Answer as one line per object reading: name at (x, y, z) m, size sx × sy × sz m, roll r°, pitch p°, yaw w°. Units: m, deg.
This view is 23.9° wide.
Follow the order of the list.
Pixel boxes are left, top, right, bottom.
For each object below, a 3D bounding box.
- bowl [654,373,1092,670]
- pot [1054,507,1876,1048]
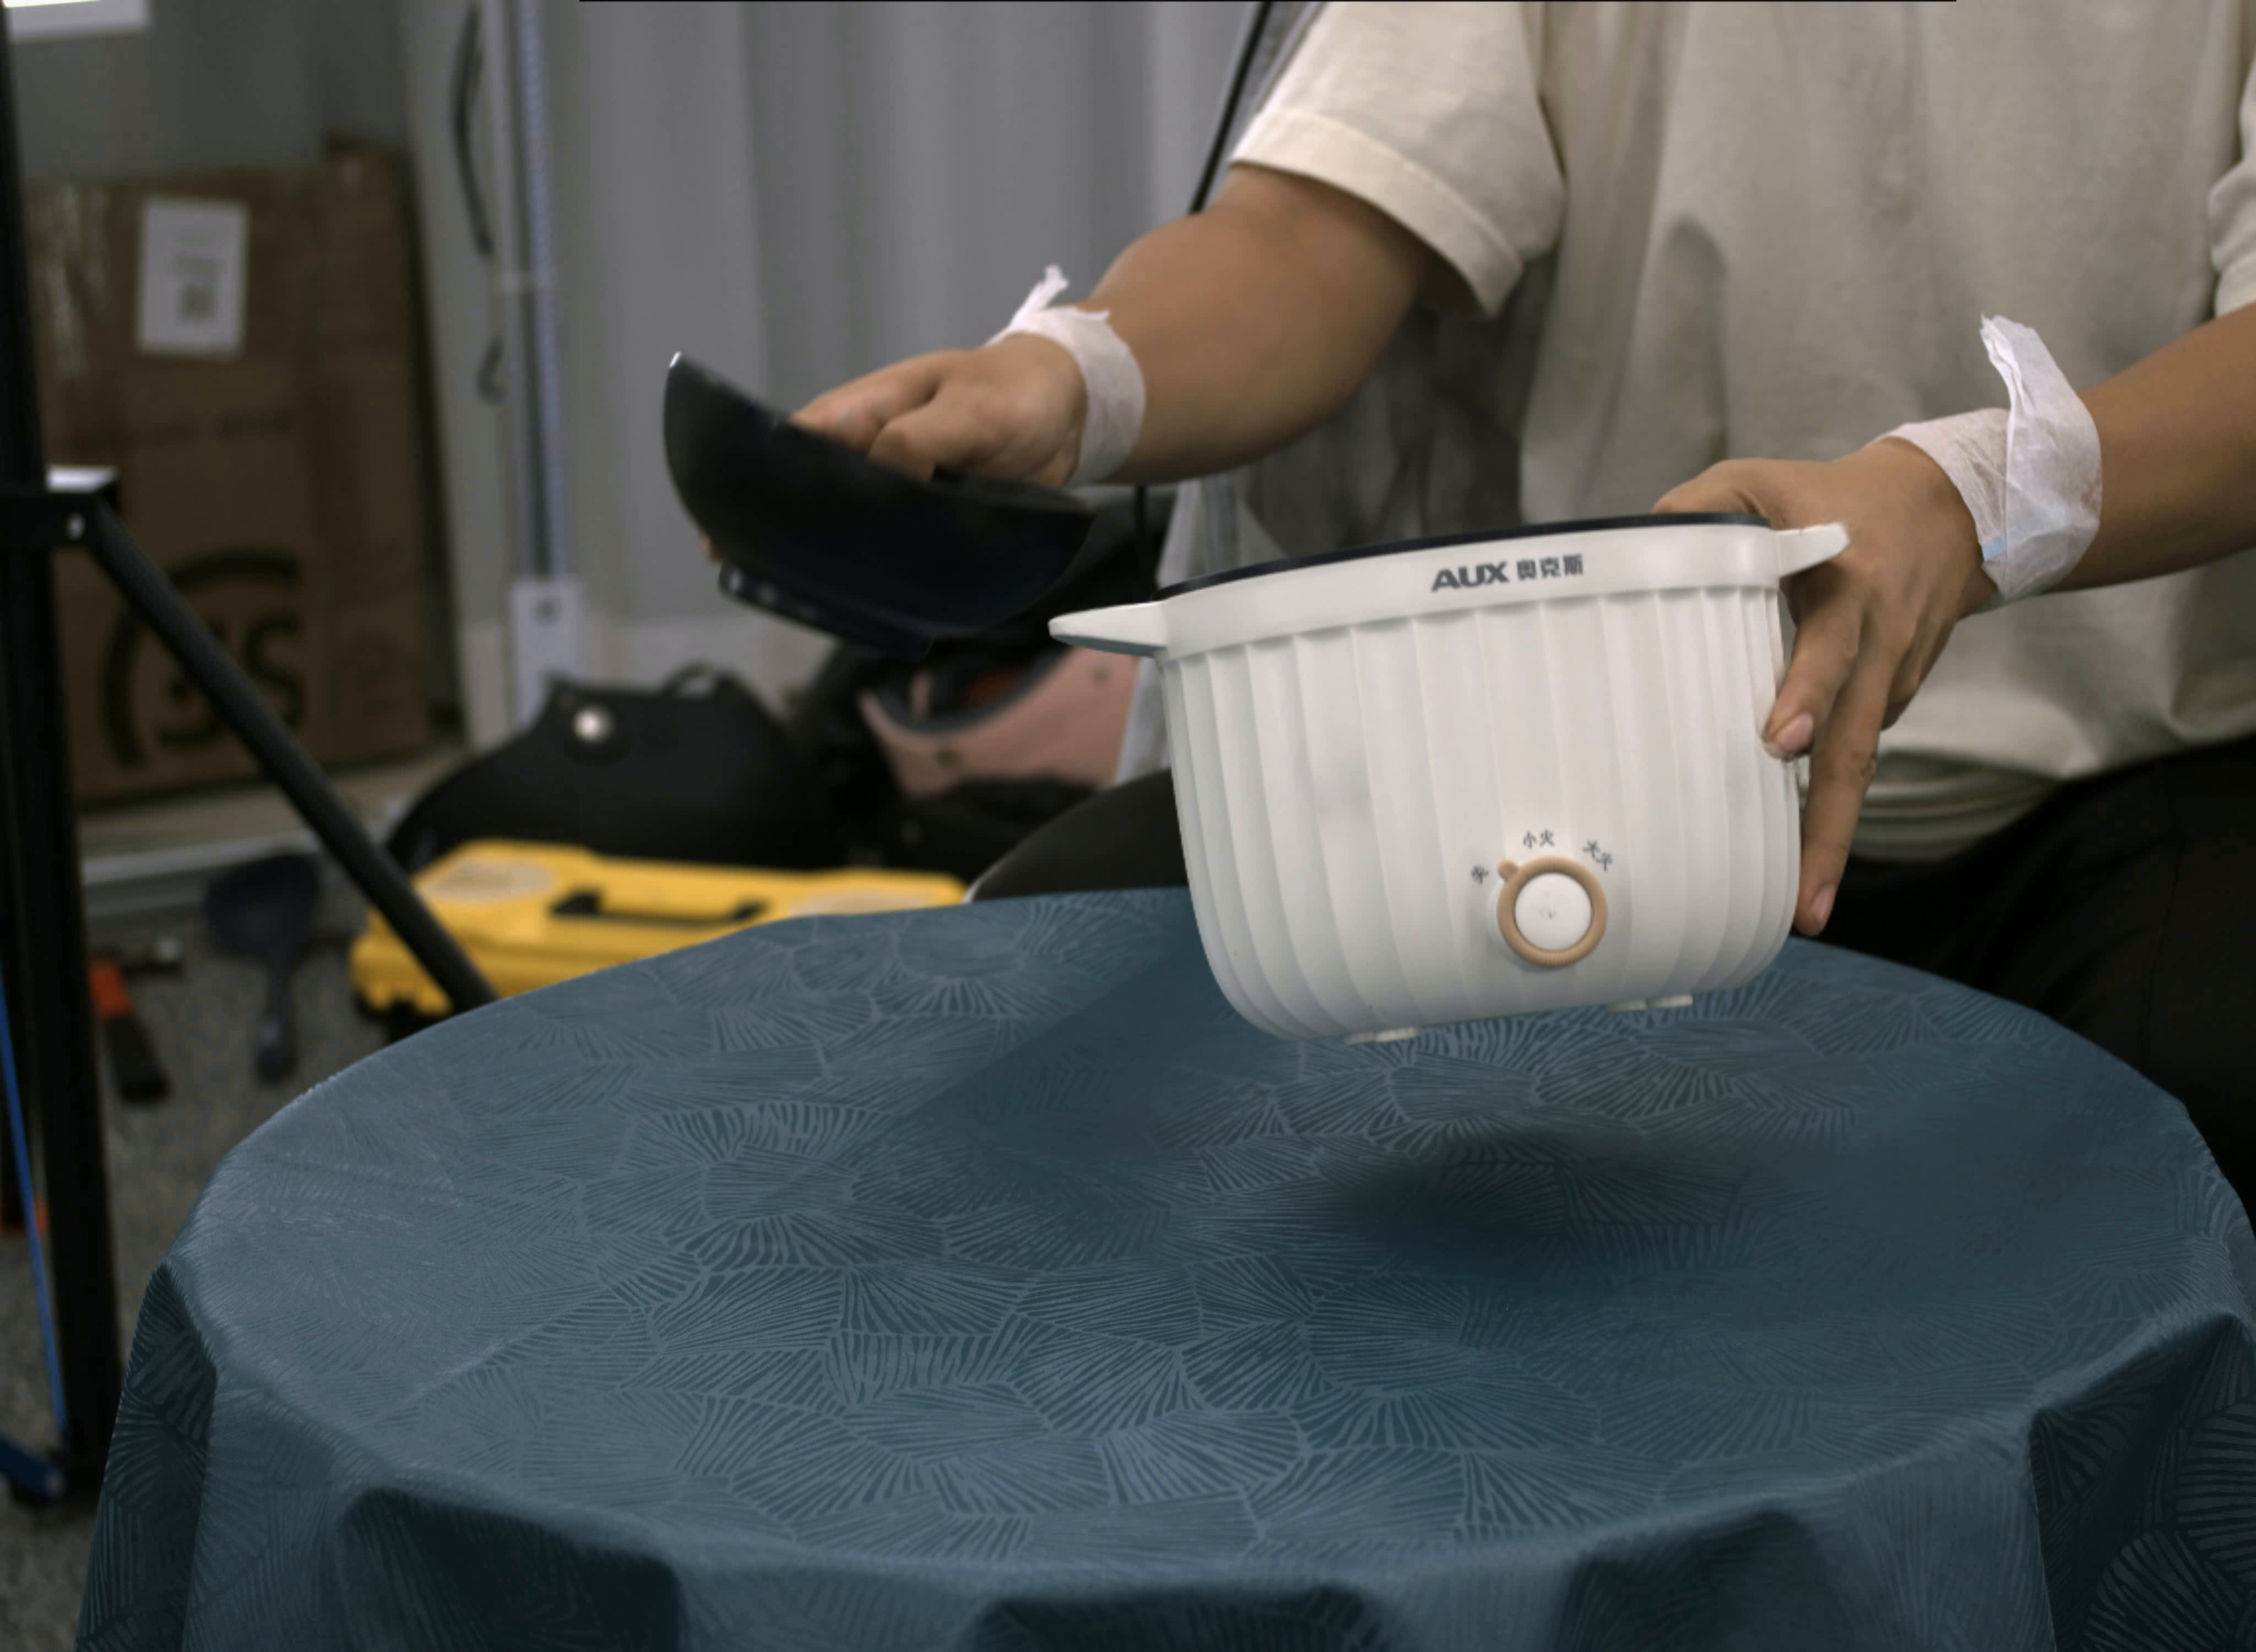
bowl at (-0.087, -0.088, 1.628) m, size 0.135 × 0.067 × 0.172 m, roll 18°, pitch 5°, yaw -11°
pot at (0.105, -0.011, 1.517) m, size 0.238 × 0.143 × 0.190 m, roll -7°, pitch -6°, yaw -4°
